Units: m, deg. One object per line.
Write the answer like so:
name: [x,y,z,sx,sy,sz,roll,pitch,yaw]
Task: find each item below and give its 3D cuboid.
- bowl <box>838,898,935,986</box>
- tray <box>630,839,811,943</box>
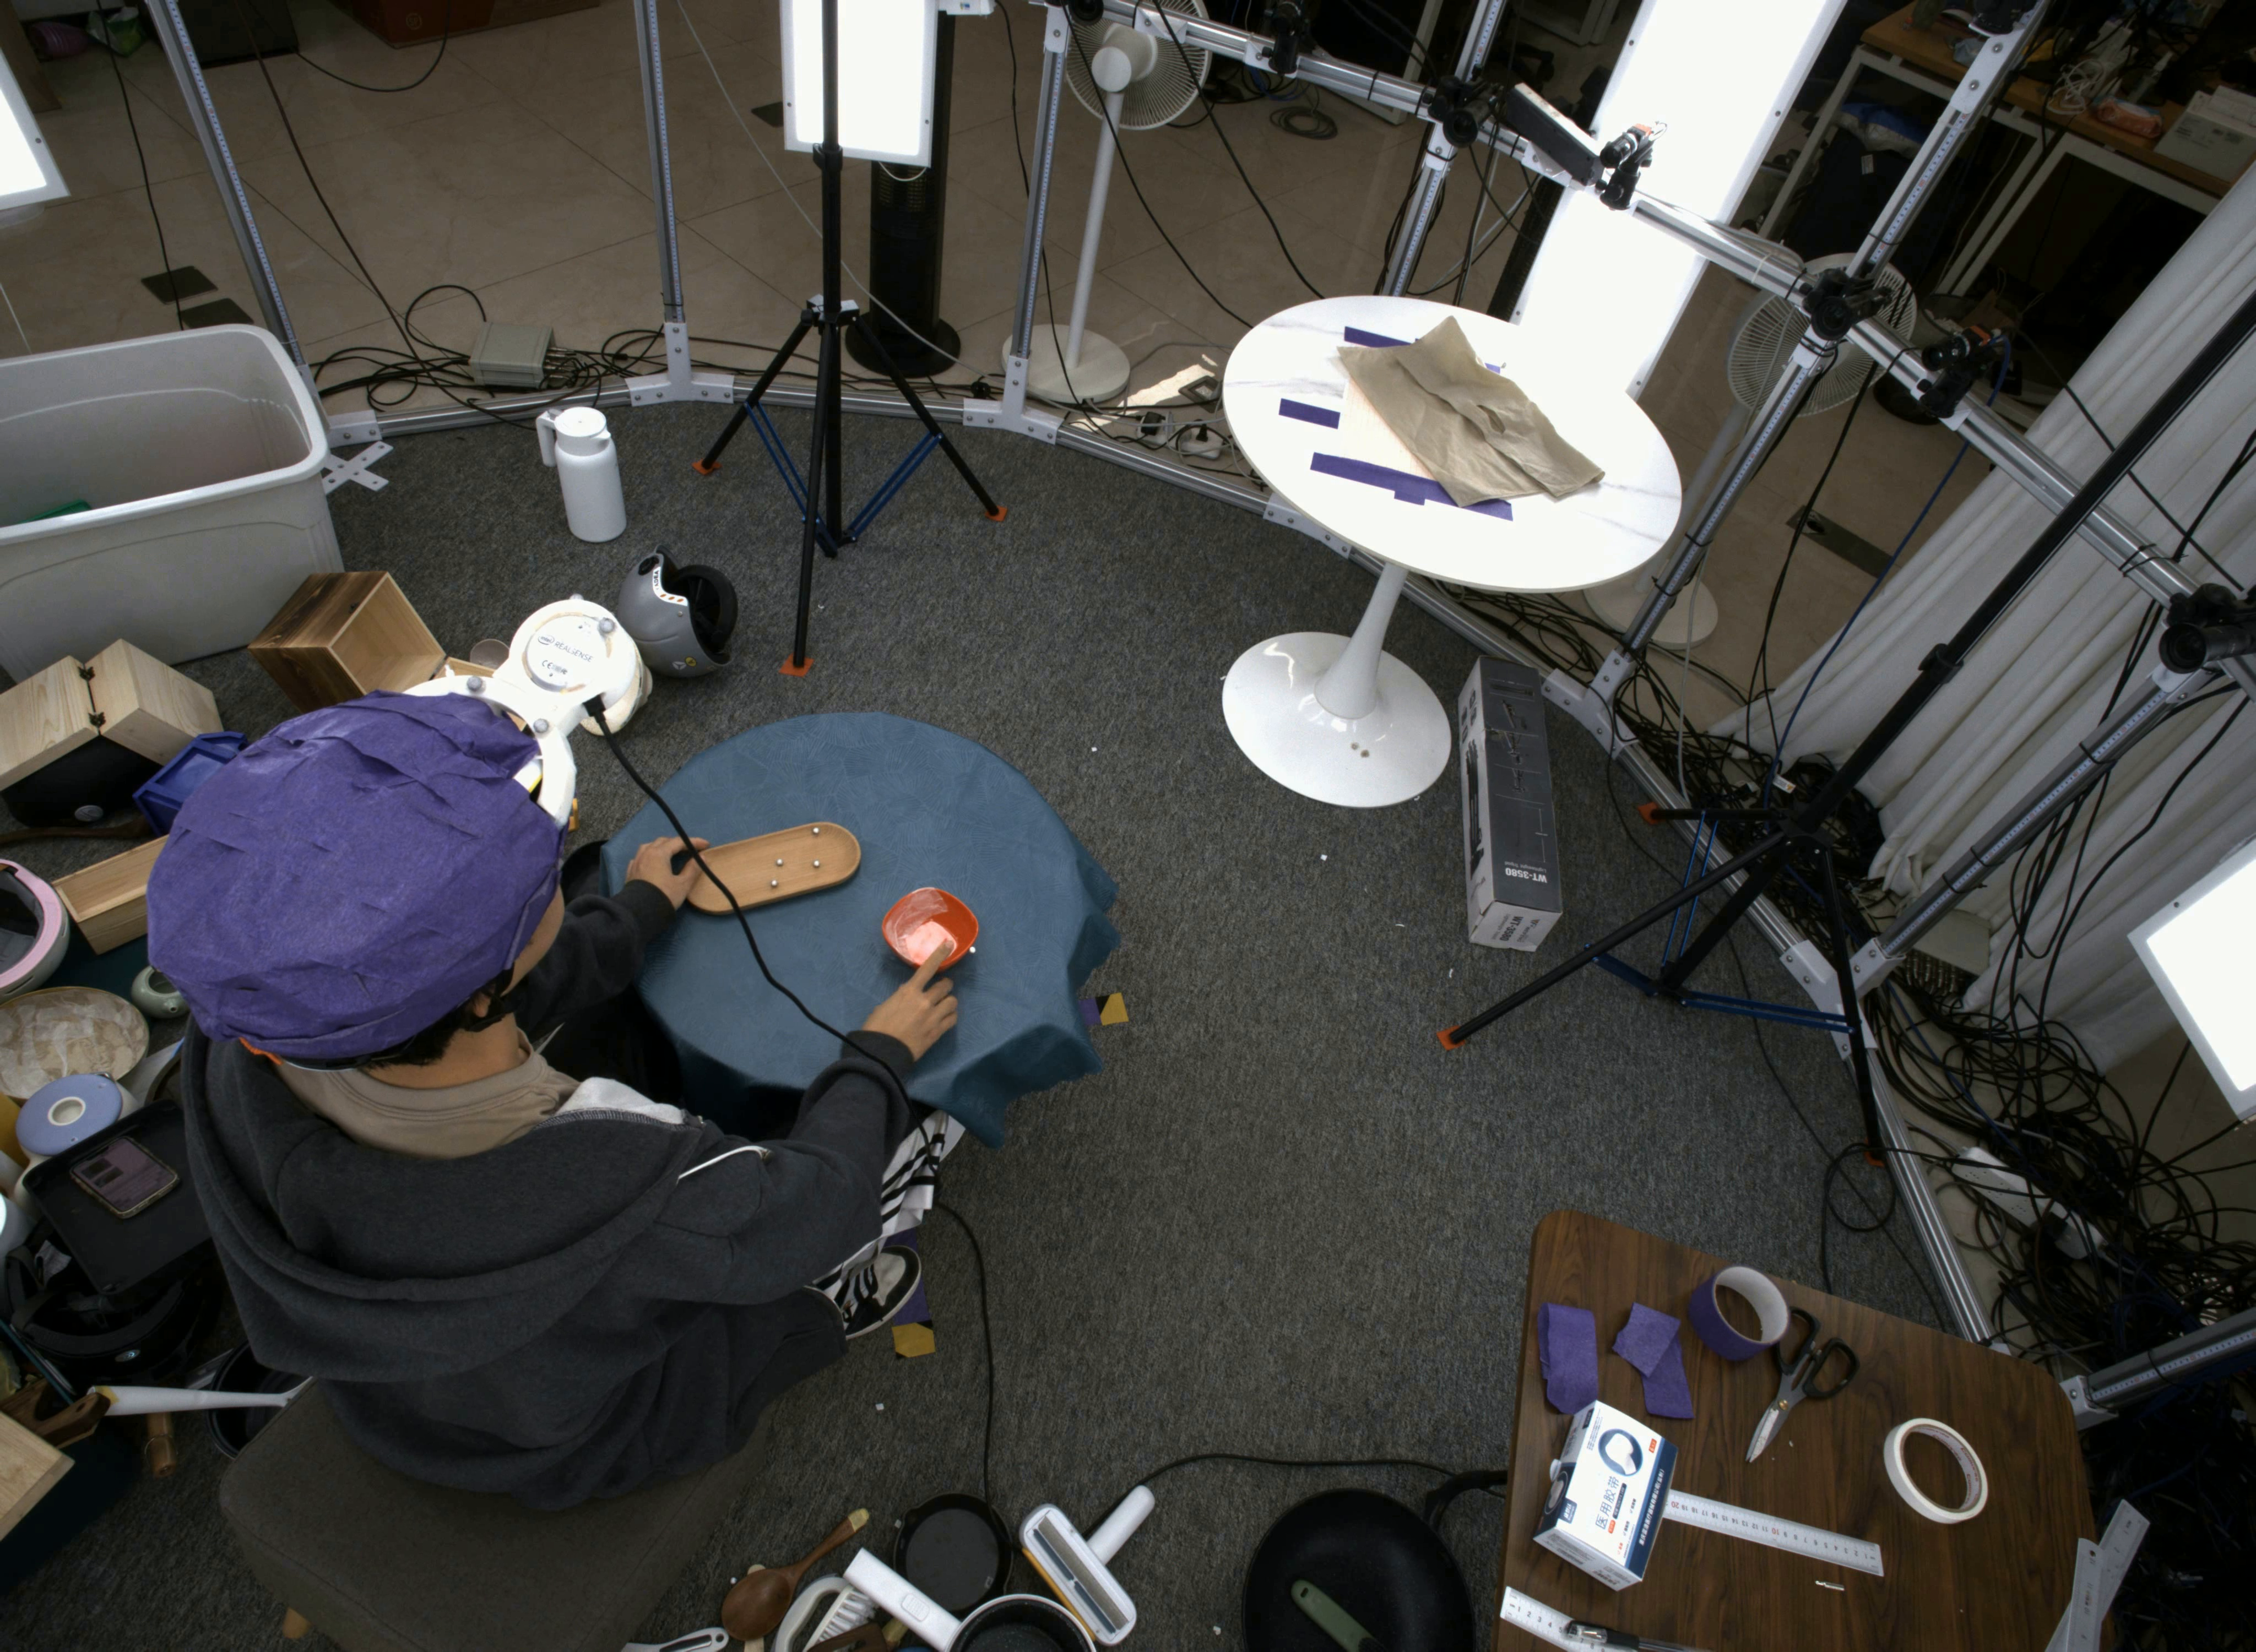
bowl: [-0.300,0.151,1.613,0.119,0.052,0.117,8,52,-9]
tray: [-0.515,0.079,1.635,0.232,0.021,0.099,-20,60,-26]
